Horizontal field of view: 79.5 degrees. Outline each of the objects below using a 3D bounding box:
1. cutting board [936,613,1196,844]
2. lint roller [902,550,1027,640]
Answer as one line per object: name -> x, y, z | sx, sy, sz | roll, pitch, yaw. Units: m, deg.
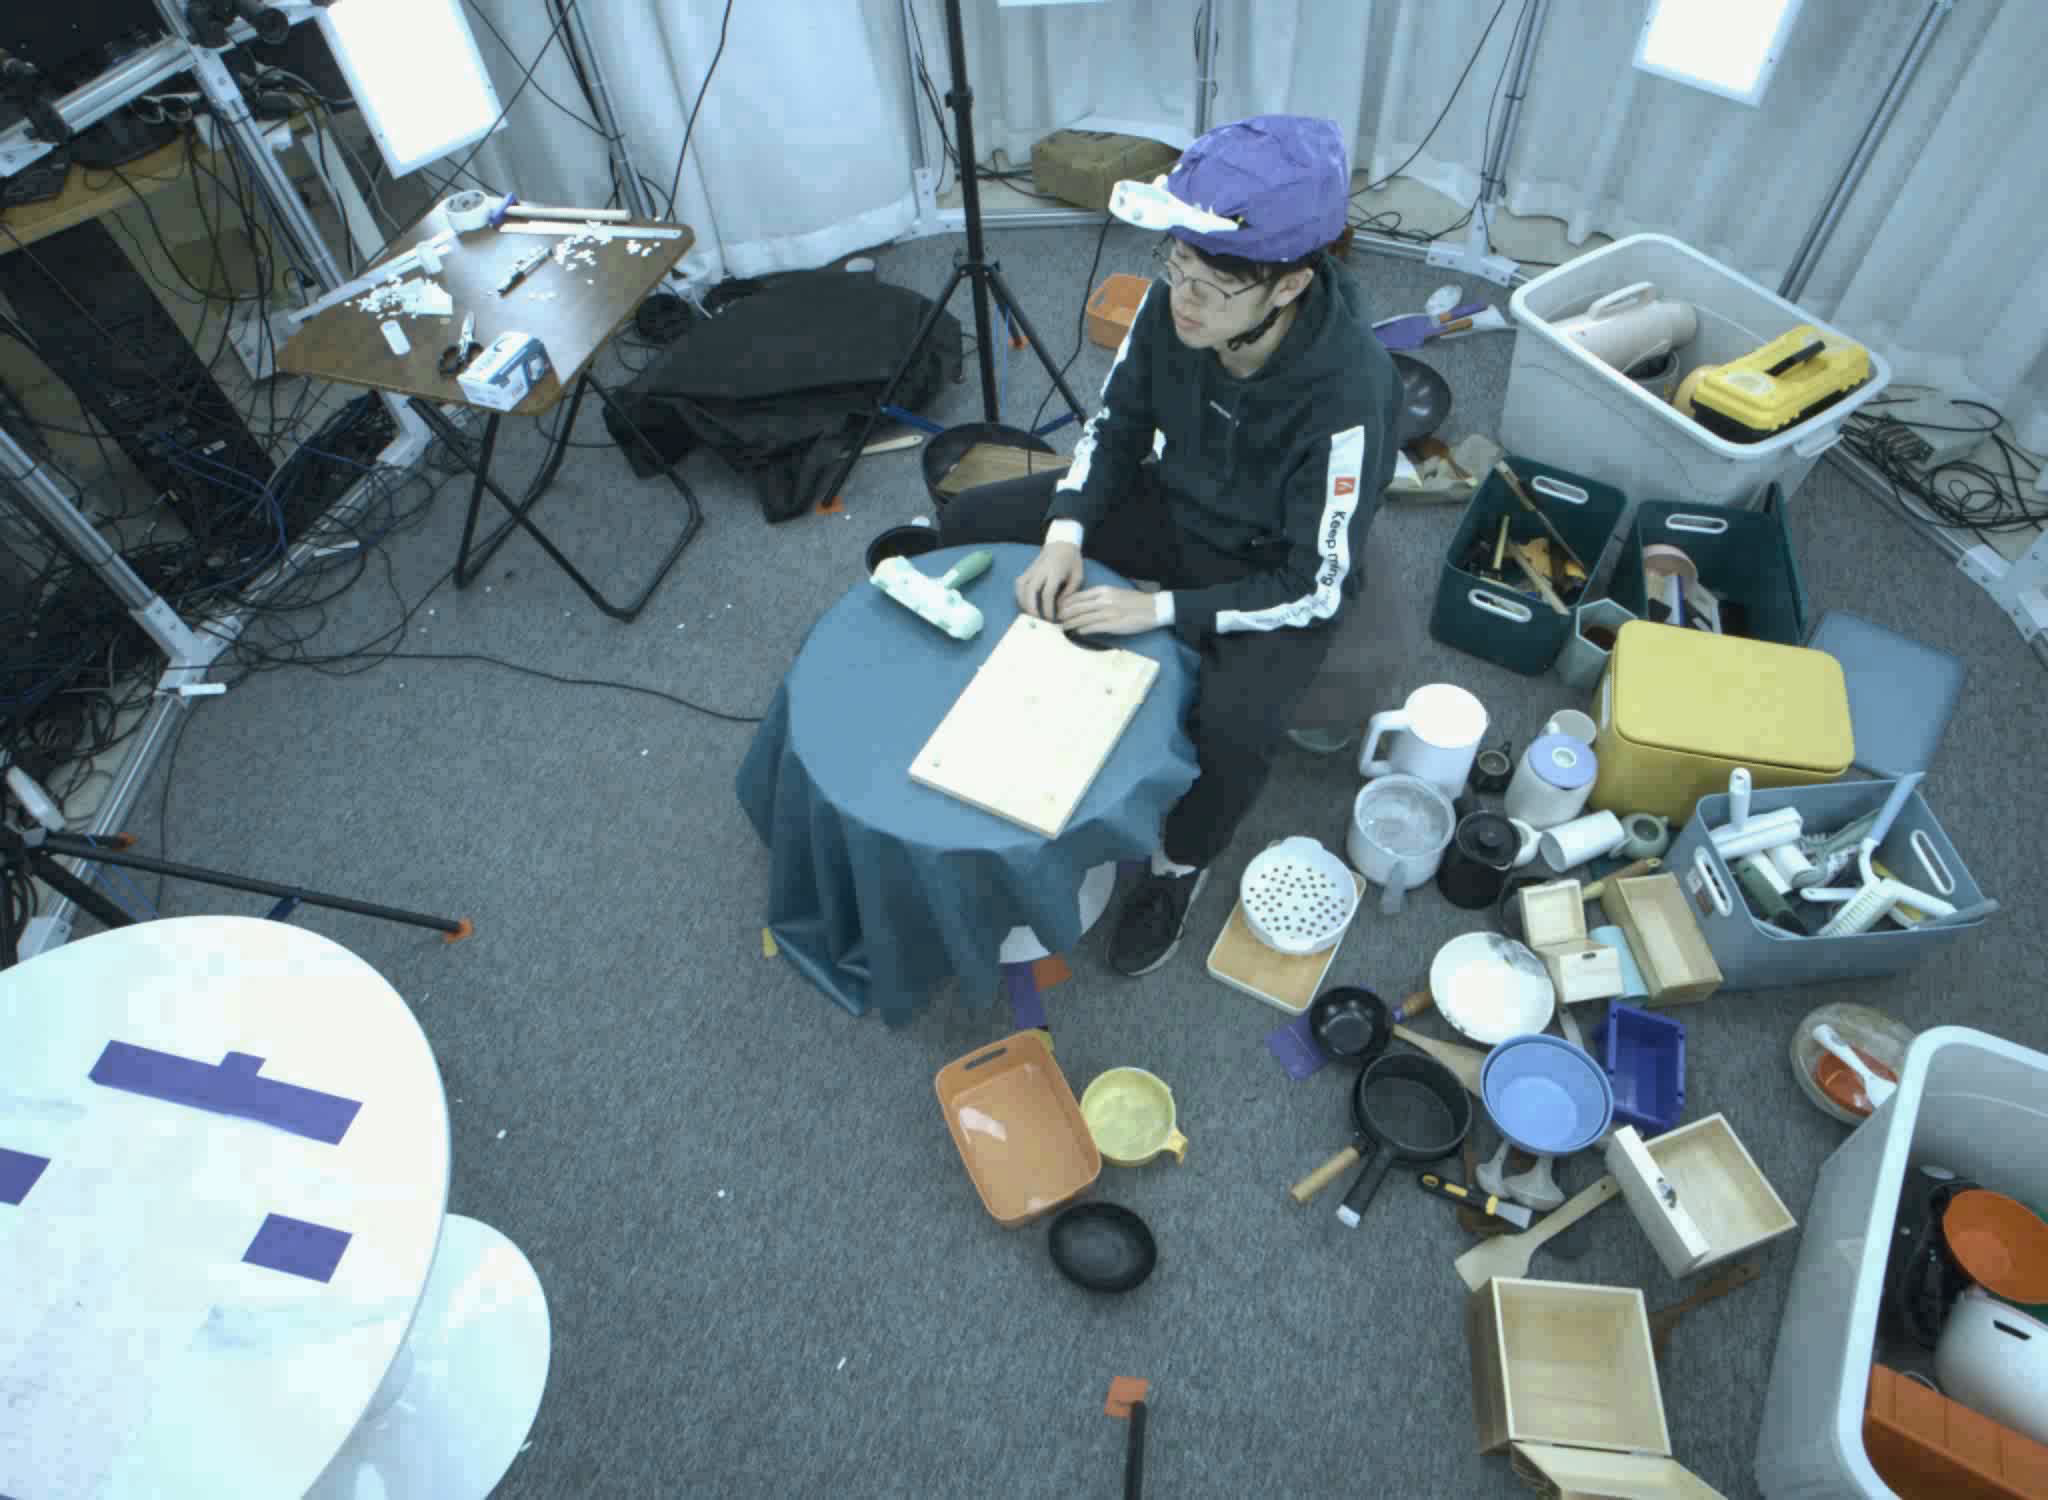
cutting board -> 0.065, -0.042, 1.801 | 0.247, 0.024, 0.349 | 24, 59, 18
lint roller -> -0.066, -0.278, 1.935 | 0.195, 0.083, 0.184 | 36, 68, 25
